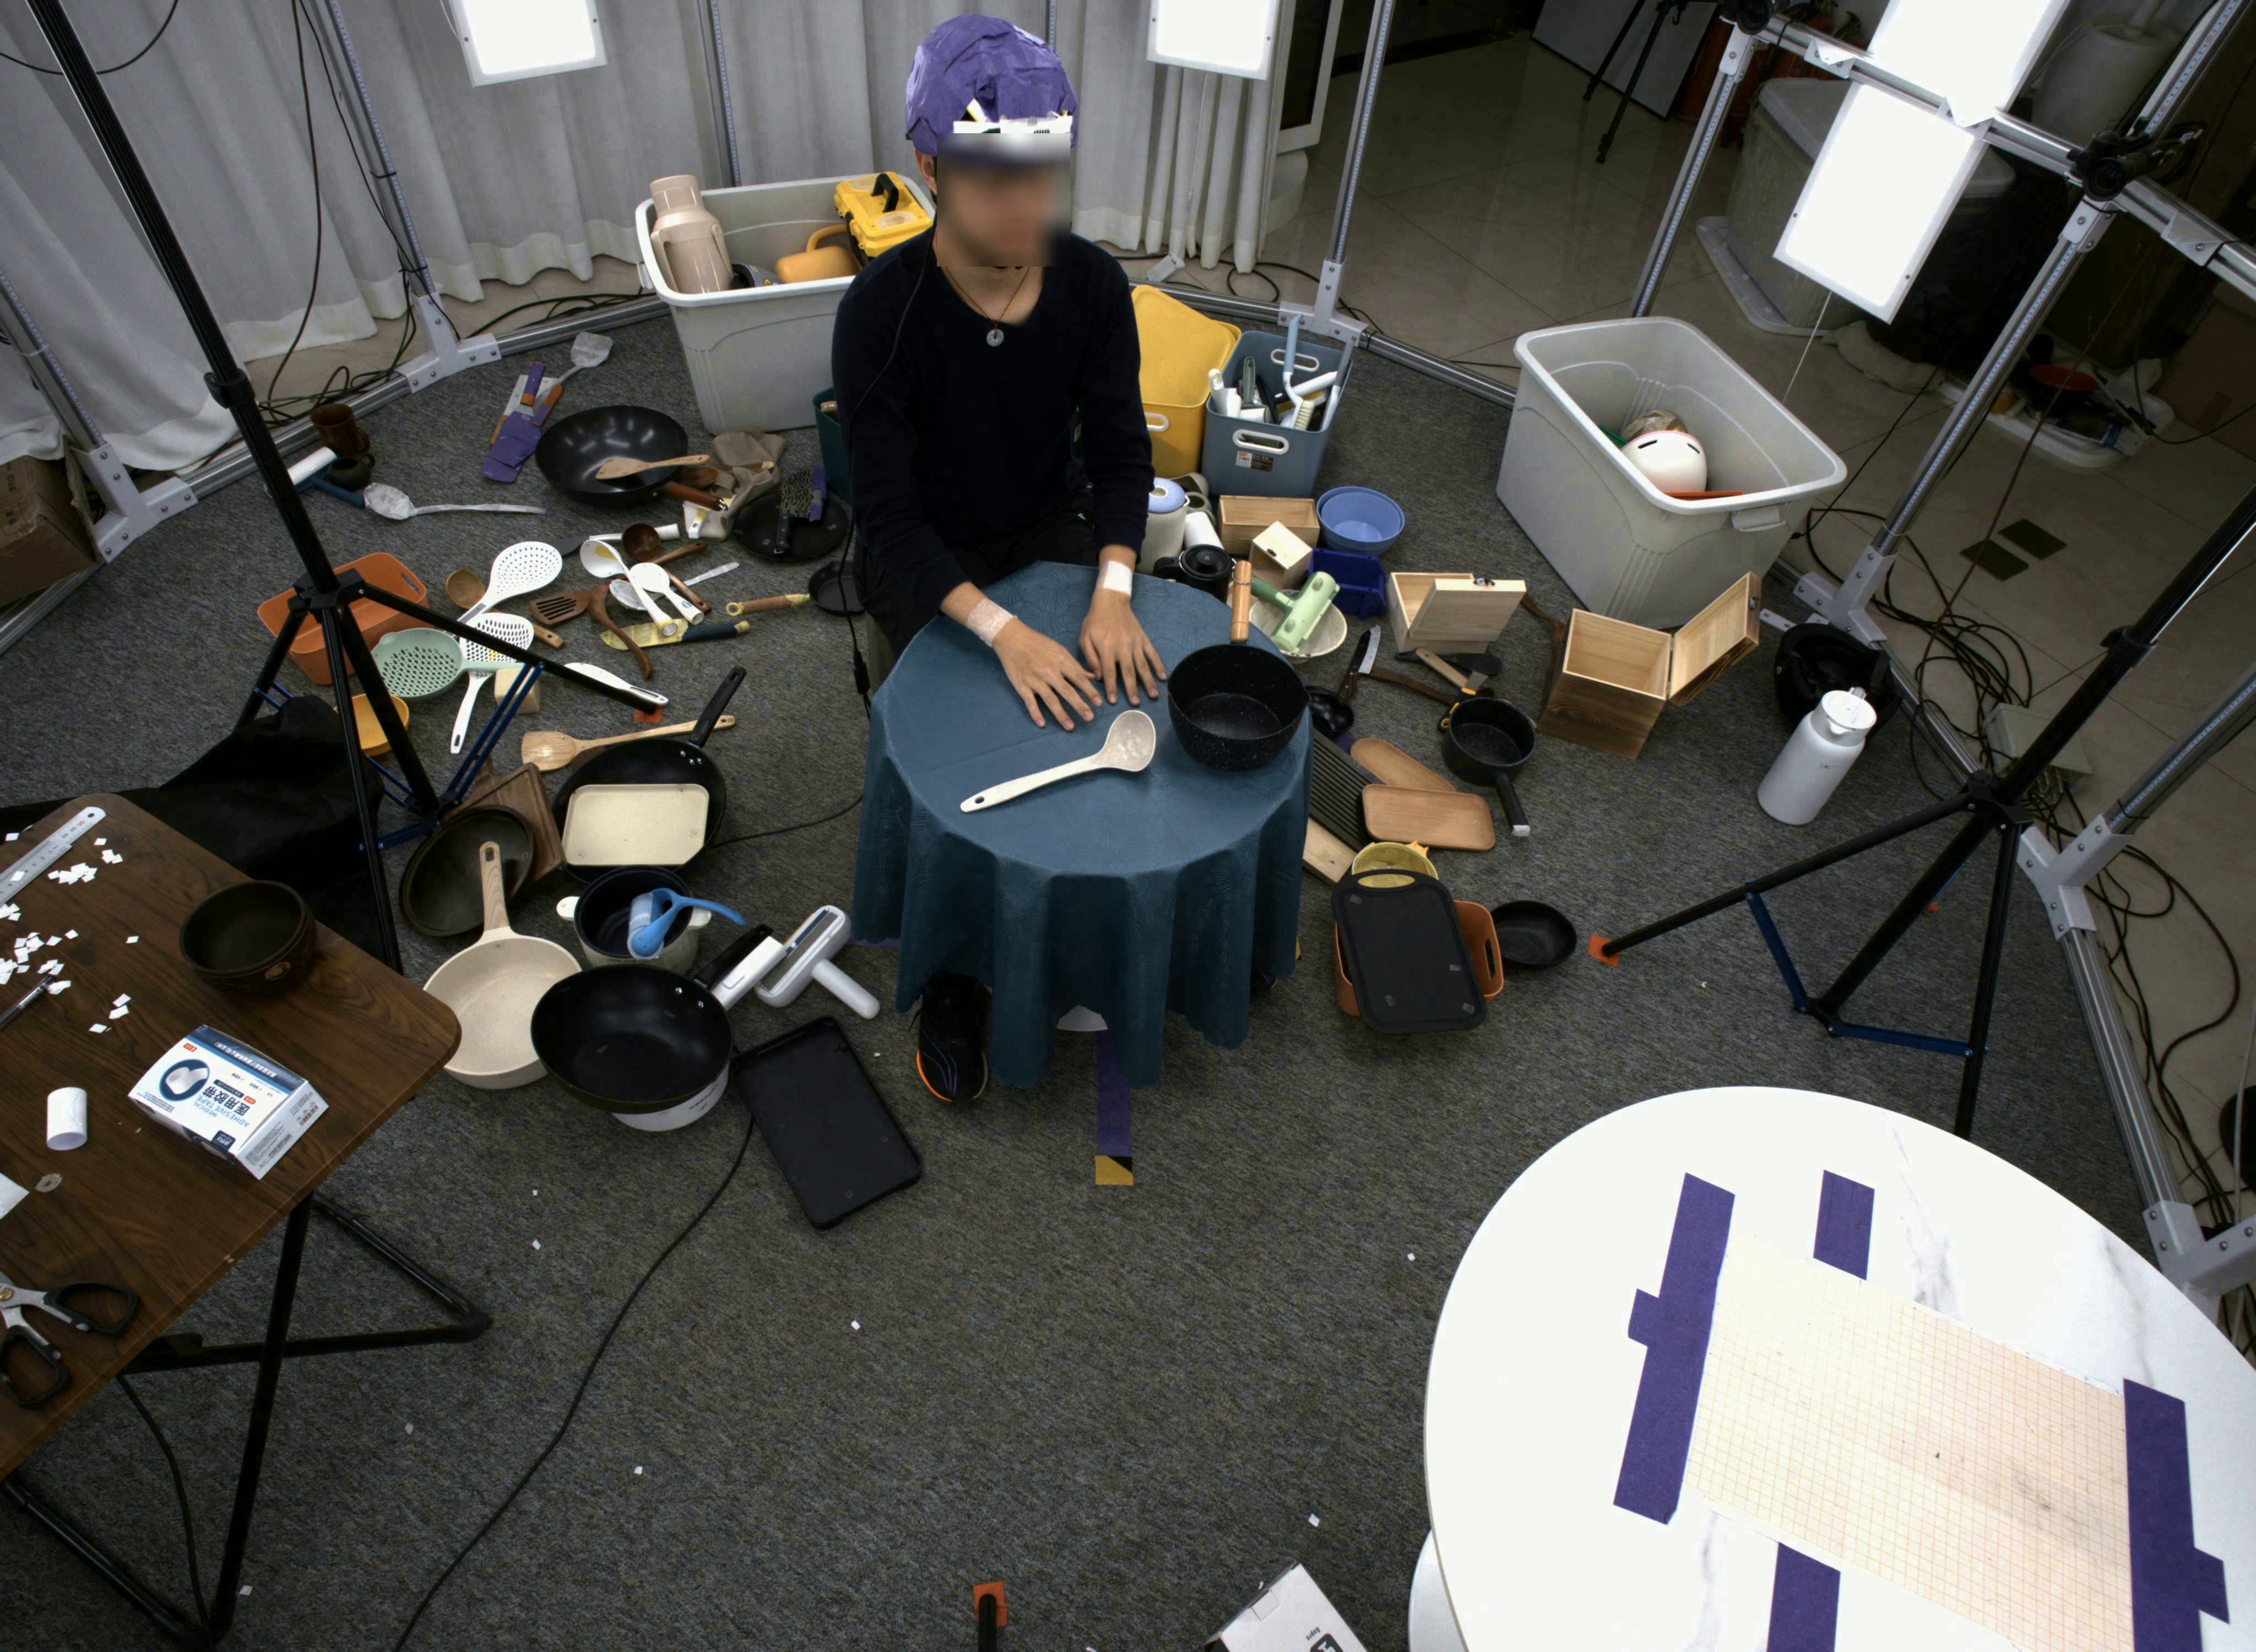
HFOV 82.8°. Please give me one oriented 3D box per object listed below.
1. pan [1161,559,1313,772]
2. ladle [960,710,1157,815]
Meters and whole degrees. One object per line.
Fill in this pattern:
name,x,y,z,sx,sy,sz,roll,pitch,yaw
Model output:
pan,0.150,-0.226,1.805,0.207,0.105,0.351,4,50,1
ladle,-0.091,-0.080,1.688,0.275,0.068,0.091,-19,64,-19
